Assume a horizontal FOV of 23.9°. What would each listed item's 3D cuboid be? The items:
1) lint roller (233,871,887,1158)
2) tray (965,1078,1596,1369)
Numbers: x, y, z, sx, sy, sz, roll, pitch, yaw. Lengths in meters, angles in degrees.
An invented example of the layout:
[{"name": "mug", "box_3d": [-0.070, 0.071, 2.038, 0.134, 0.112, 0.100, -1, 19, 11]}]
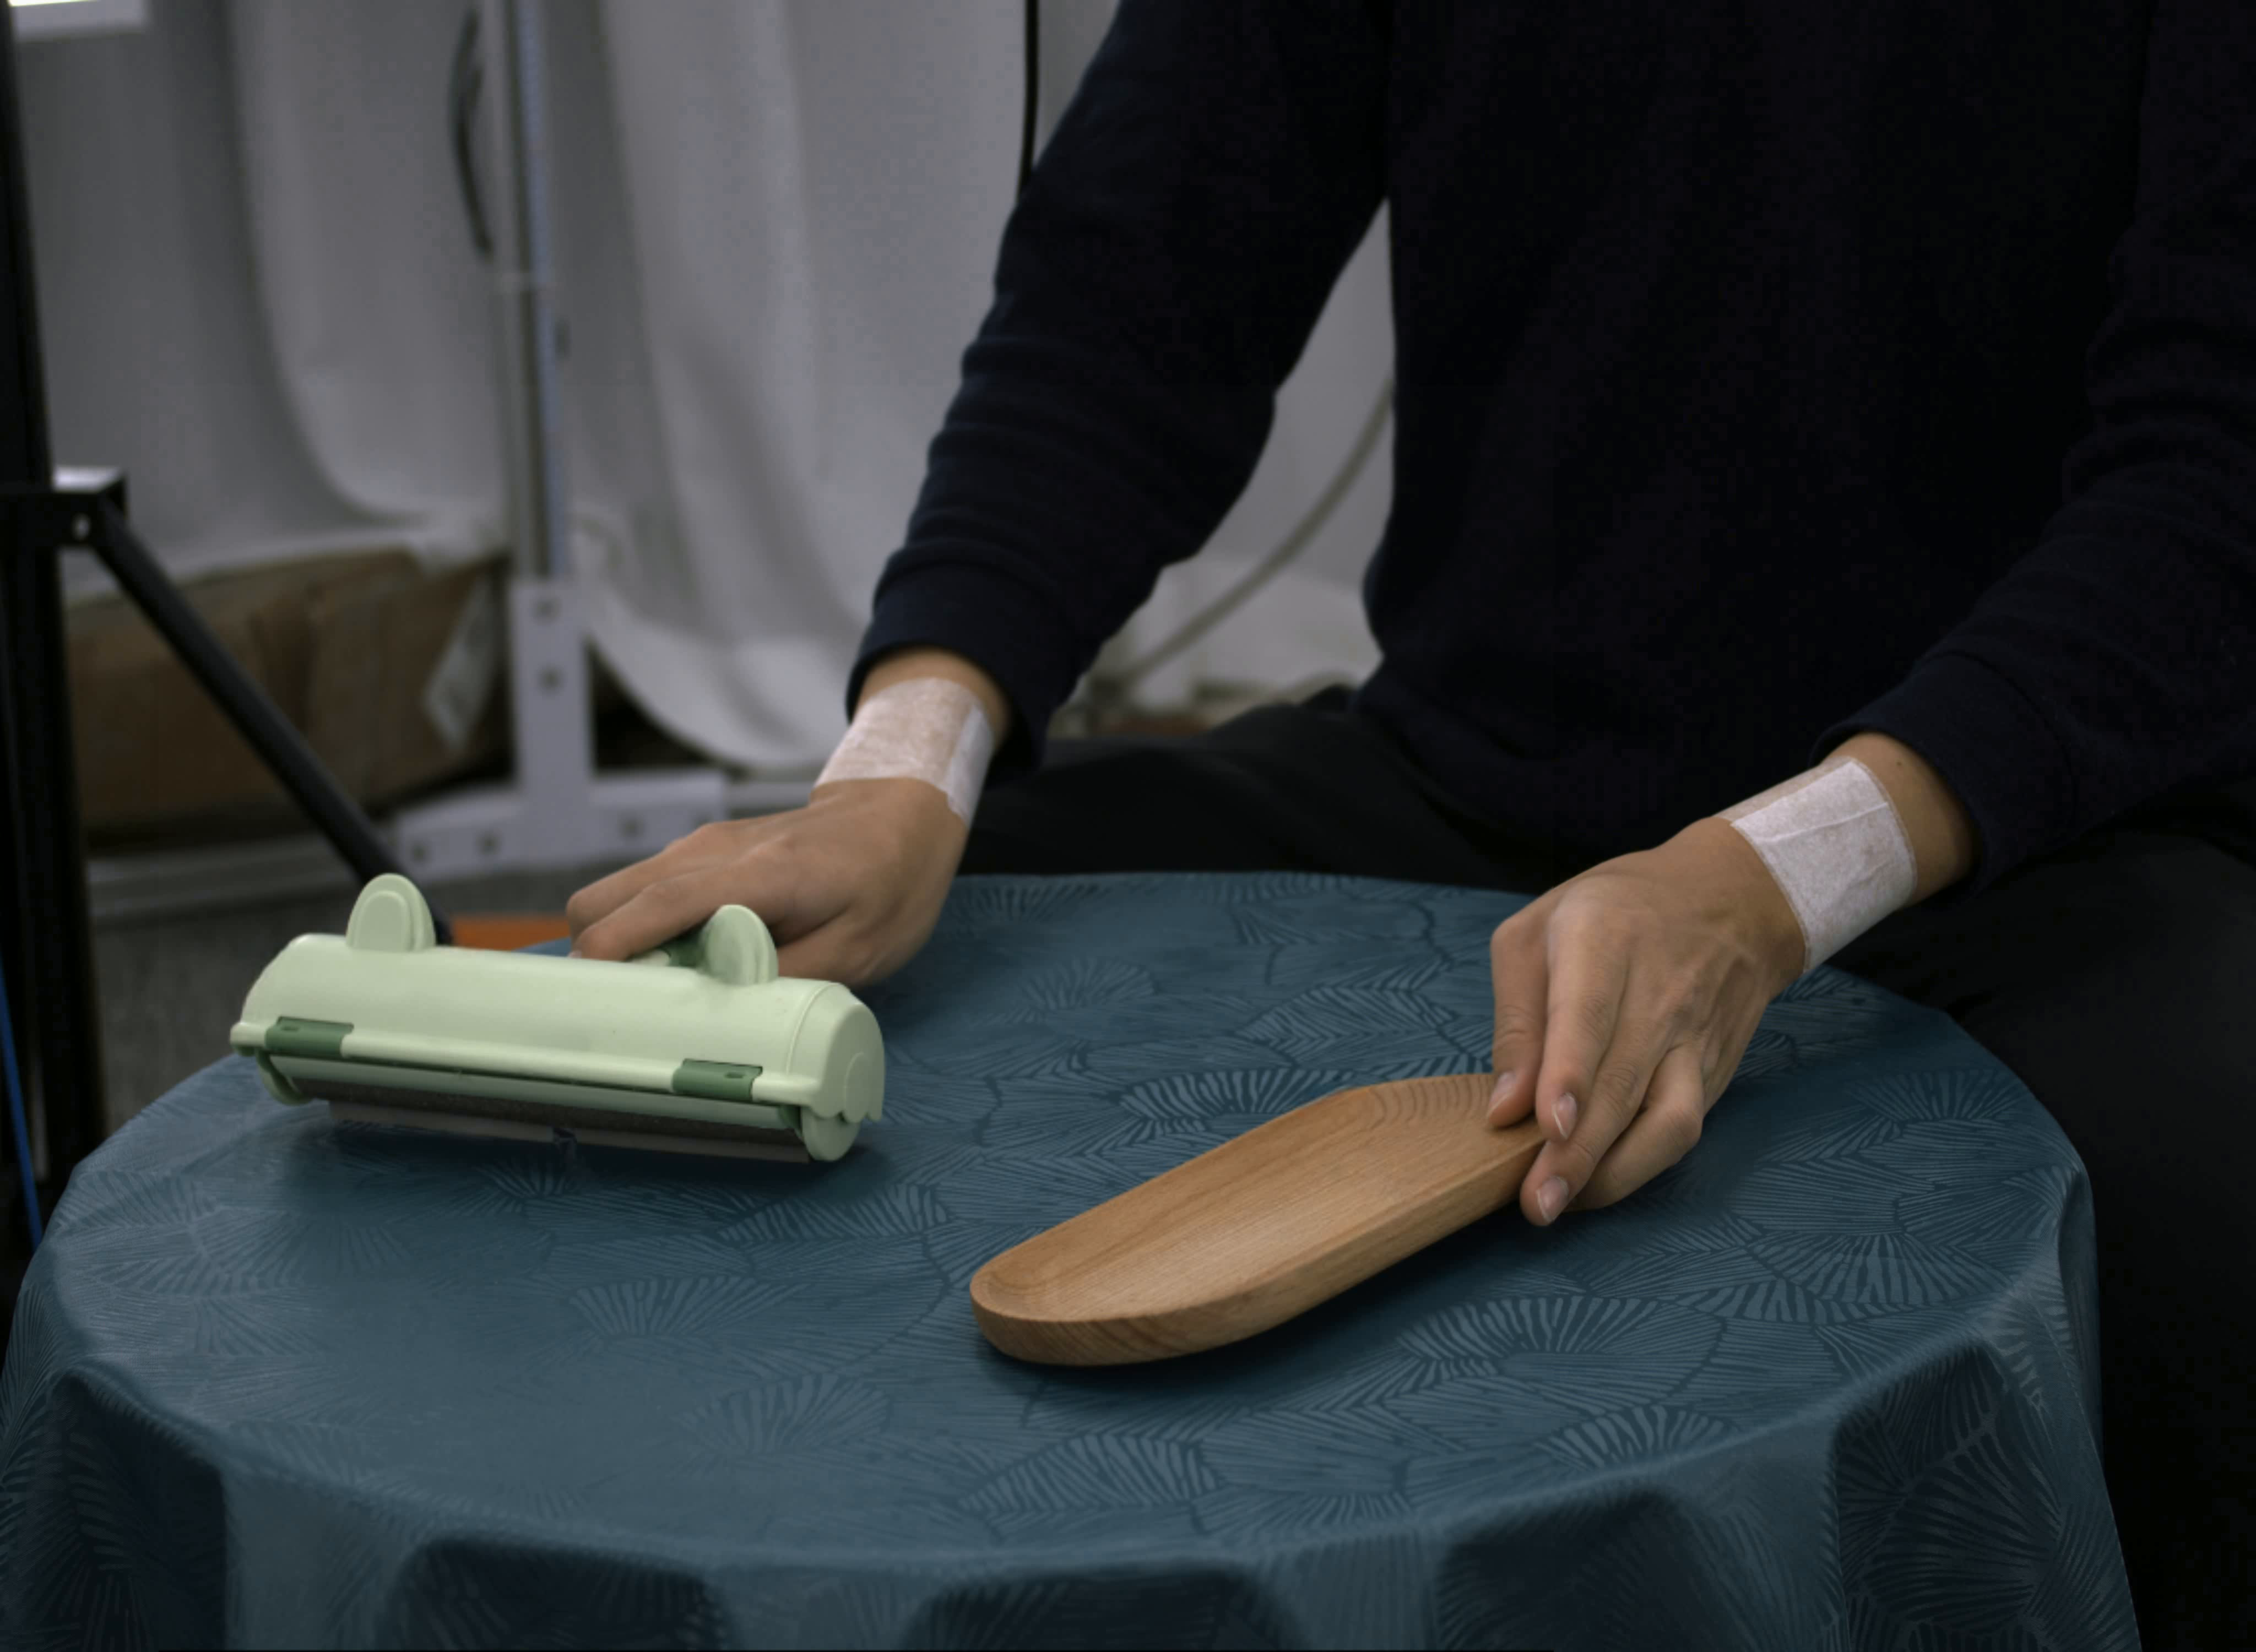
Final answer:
[{"name": "lint roller", "box_3d": [-0.154, 0.036, 1.664, 0.201, 0.082, 0.182, 4, 27, 21]}, {"name": "tray", "box_3d": [0.047, 0.110, 1.491, 0.104, 0.020, 0.226, -2, 14, 41]}]
